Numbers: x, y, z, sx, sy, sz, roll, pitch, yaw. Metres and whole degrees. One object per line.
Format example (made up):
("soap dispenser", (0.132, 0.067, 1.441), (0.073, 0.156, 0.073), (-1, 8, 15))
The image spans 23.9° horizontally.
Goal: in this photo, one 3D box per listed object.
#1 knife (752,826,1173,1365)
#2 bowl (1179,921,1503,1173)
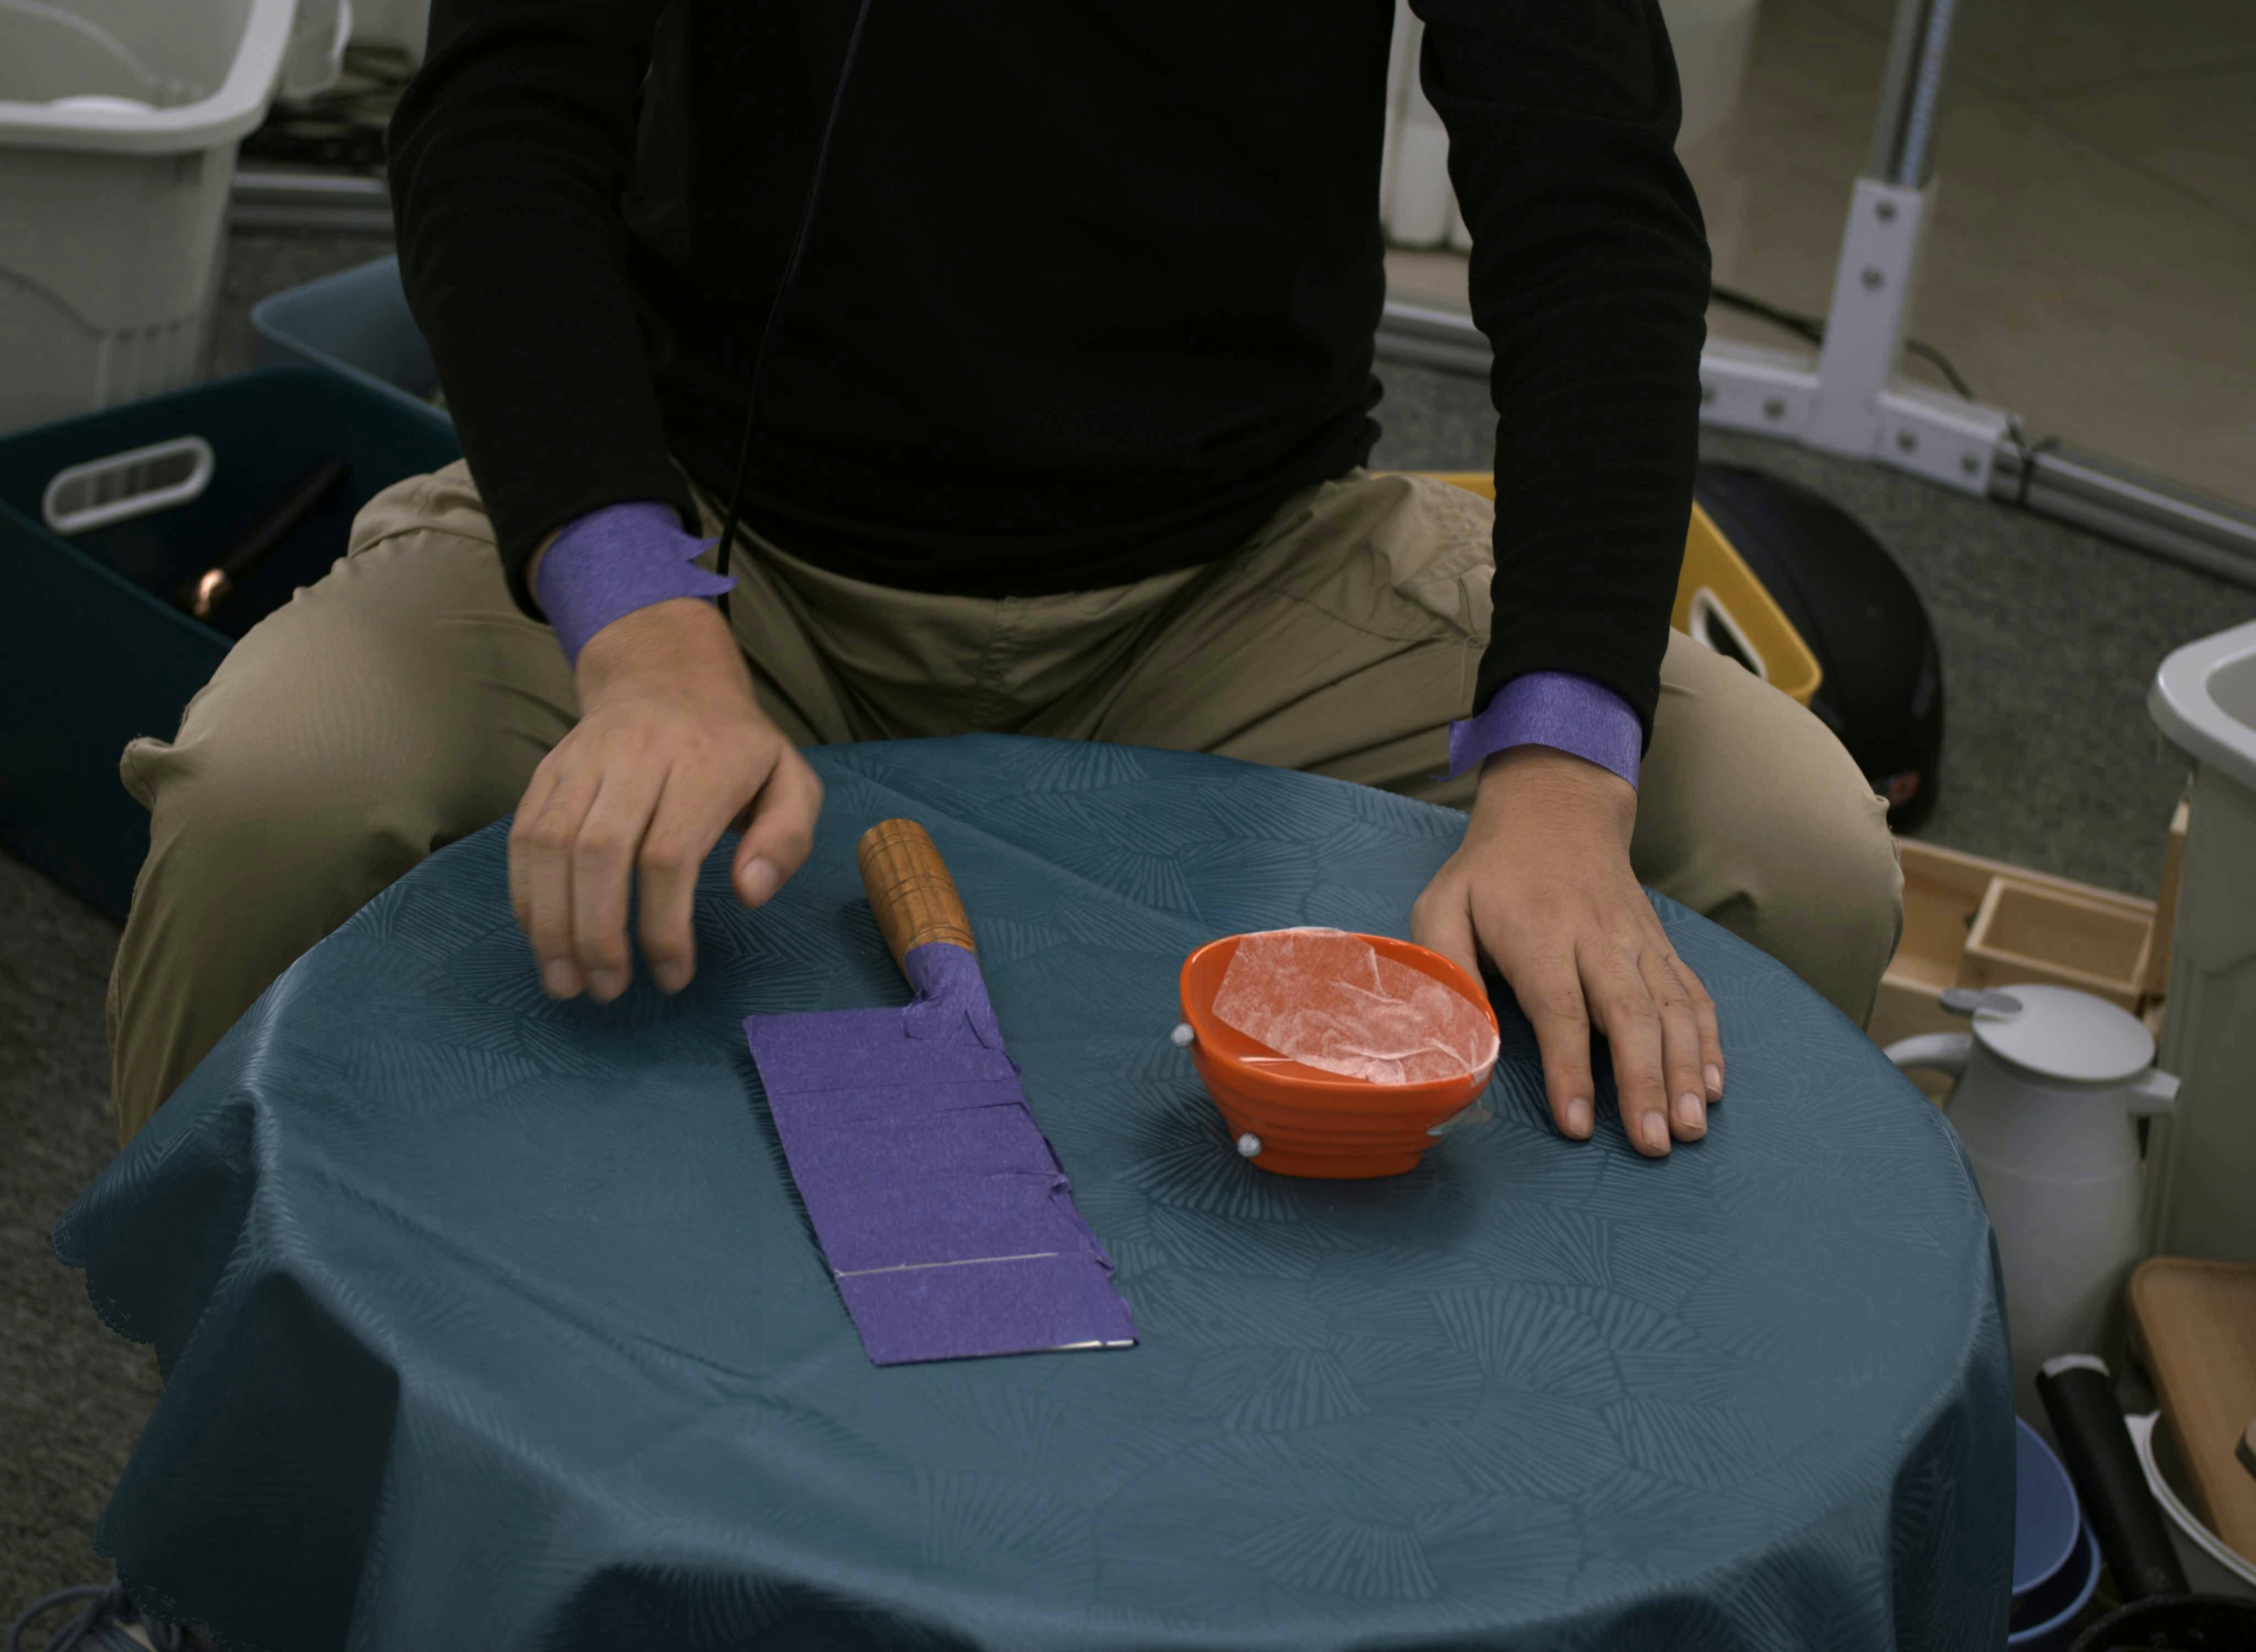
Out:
("knife", (-0.076, 0.088, 1.830), (0.103, 0.032, 0.318), (-2, 29, -17))
("bowl", (0.070, 0.081, 1.843), (0.118, 0.051, 0.119), (5, 28, -3))
